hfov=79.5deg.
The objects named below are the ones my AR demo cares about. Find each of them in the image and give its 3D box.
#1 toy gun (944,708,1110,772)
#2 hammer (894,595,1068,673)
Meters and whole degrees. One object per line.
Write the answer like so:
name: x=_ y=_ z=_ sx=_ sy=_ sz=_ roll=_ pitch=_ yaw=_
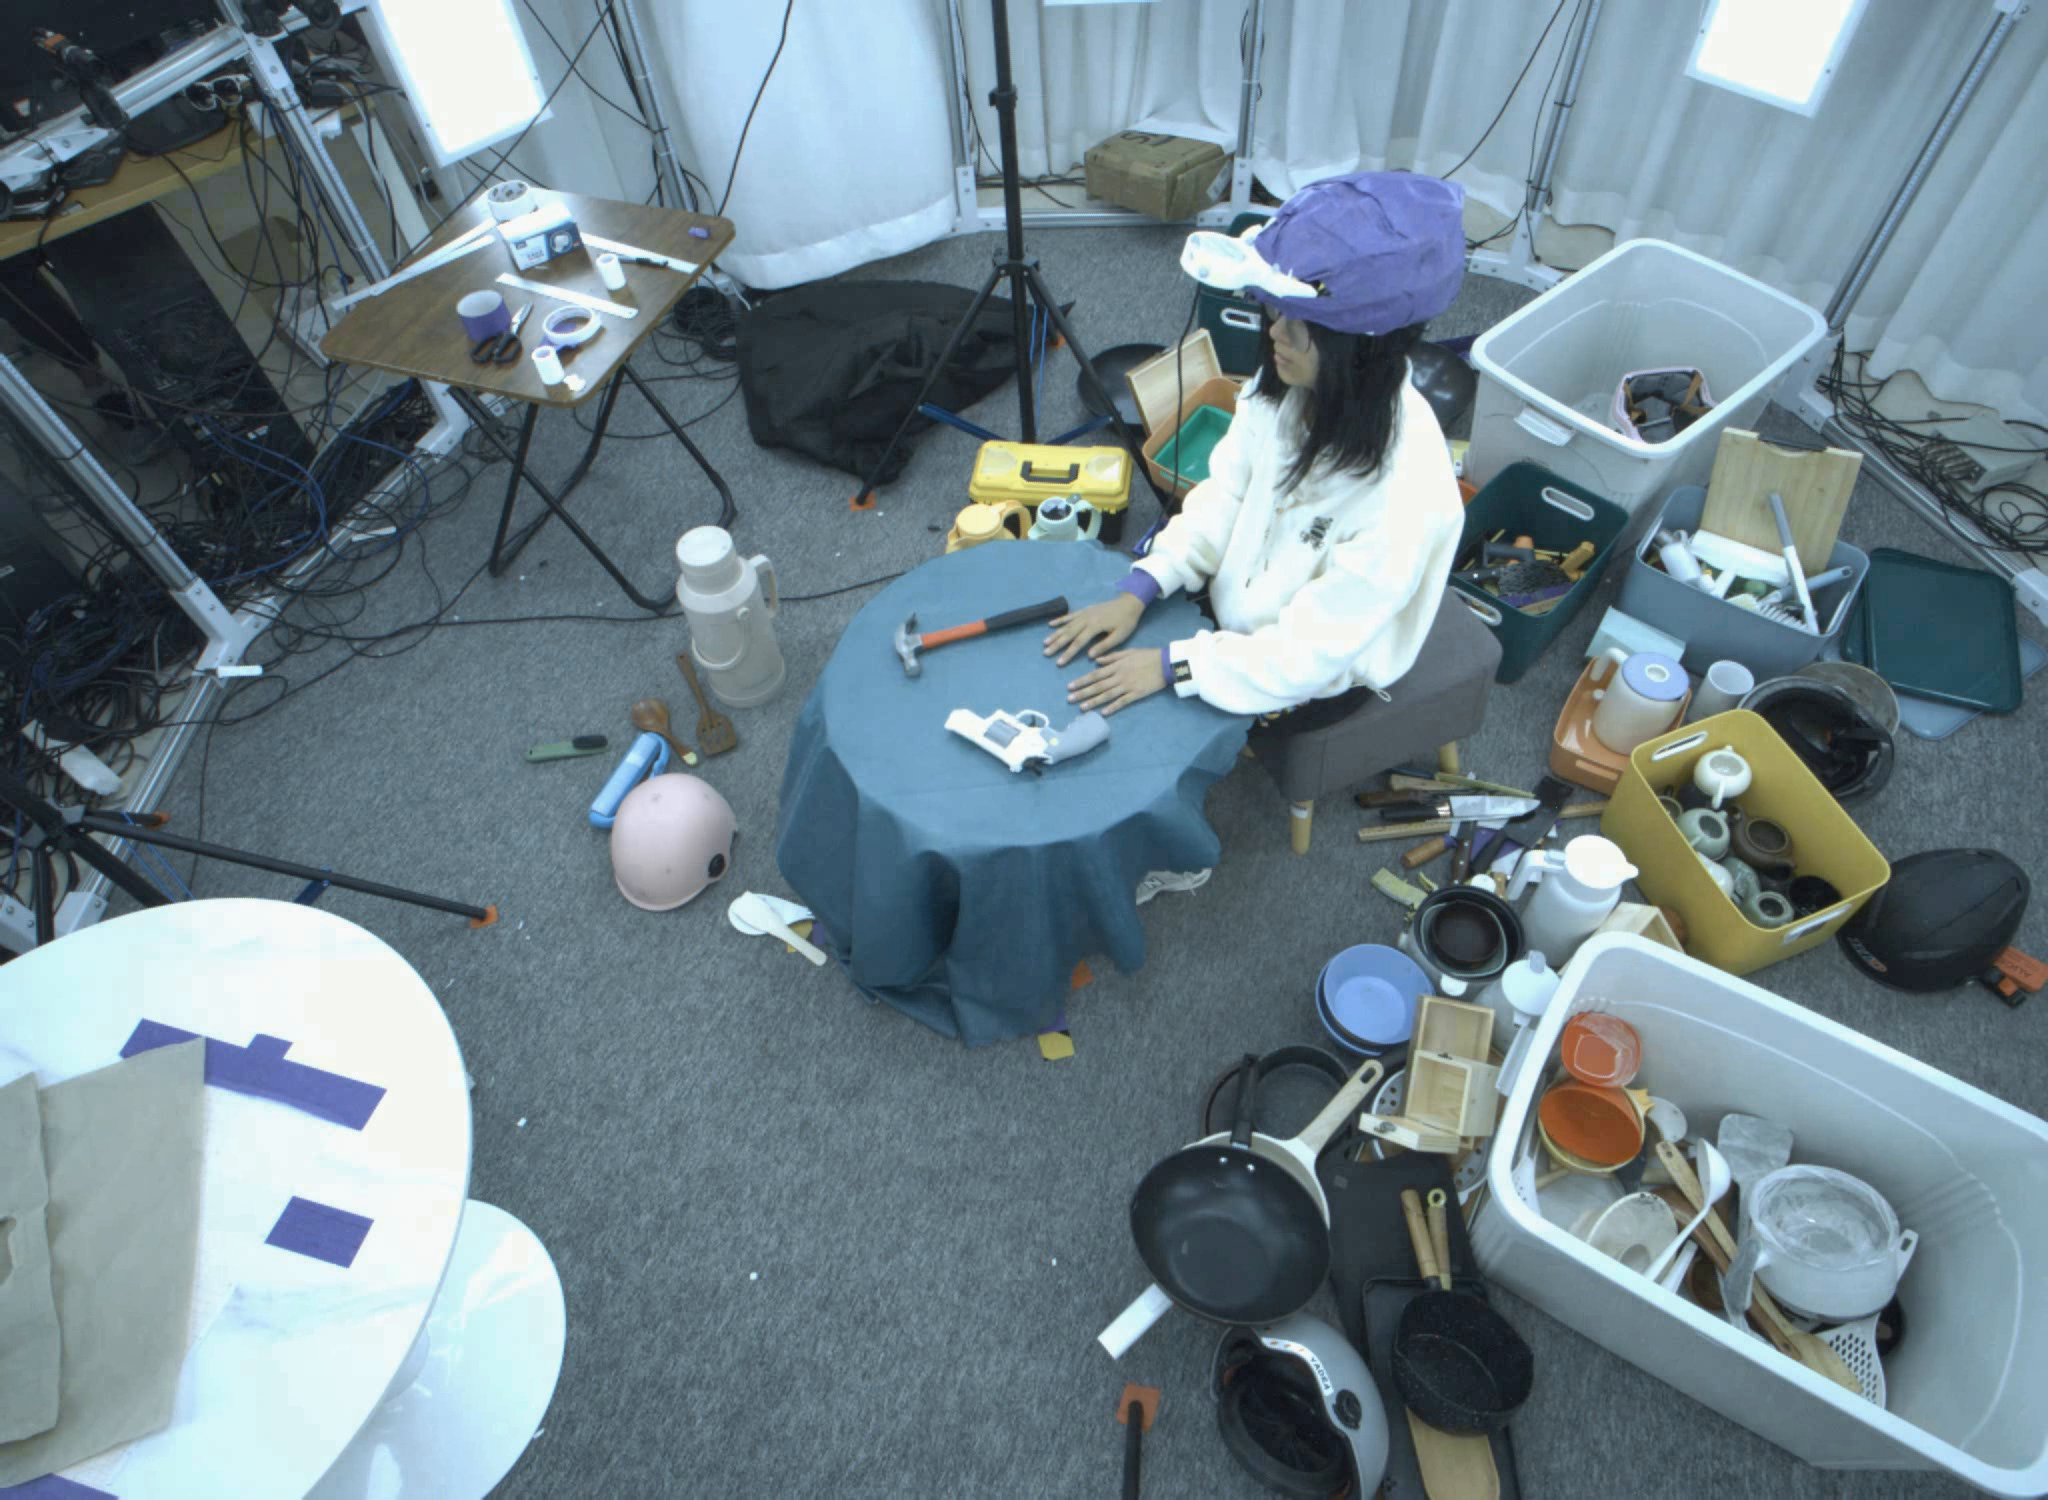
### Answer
toy gun: x=0.005 y=-0.033 z=1.786 sx=0.206 sy=0.039 sz=0.142 roll=29 pitch=63 yaw=19
hammer: x=-0.067 y=-0.196 z=1.911 sx=0.279 sy=0.026 sz=0.108 roll=-16 pitch=47 yaw=-9
